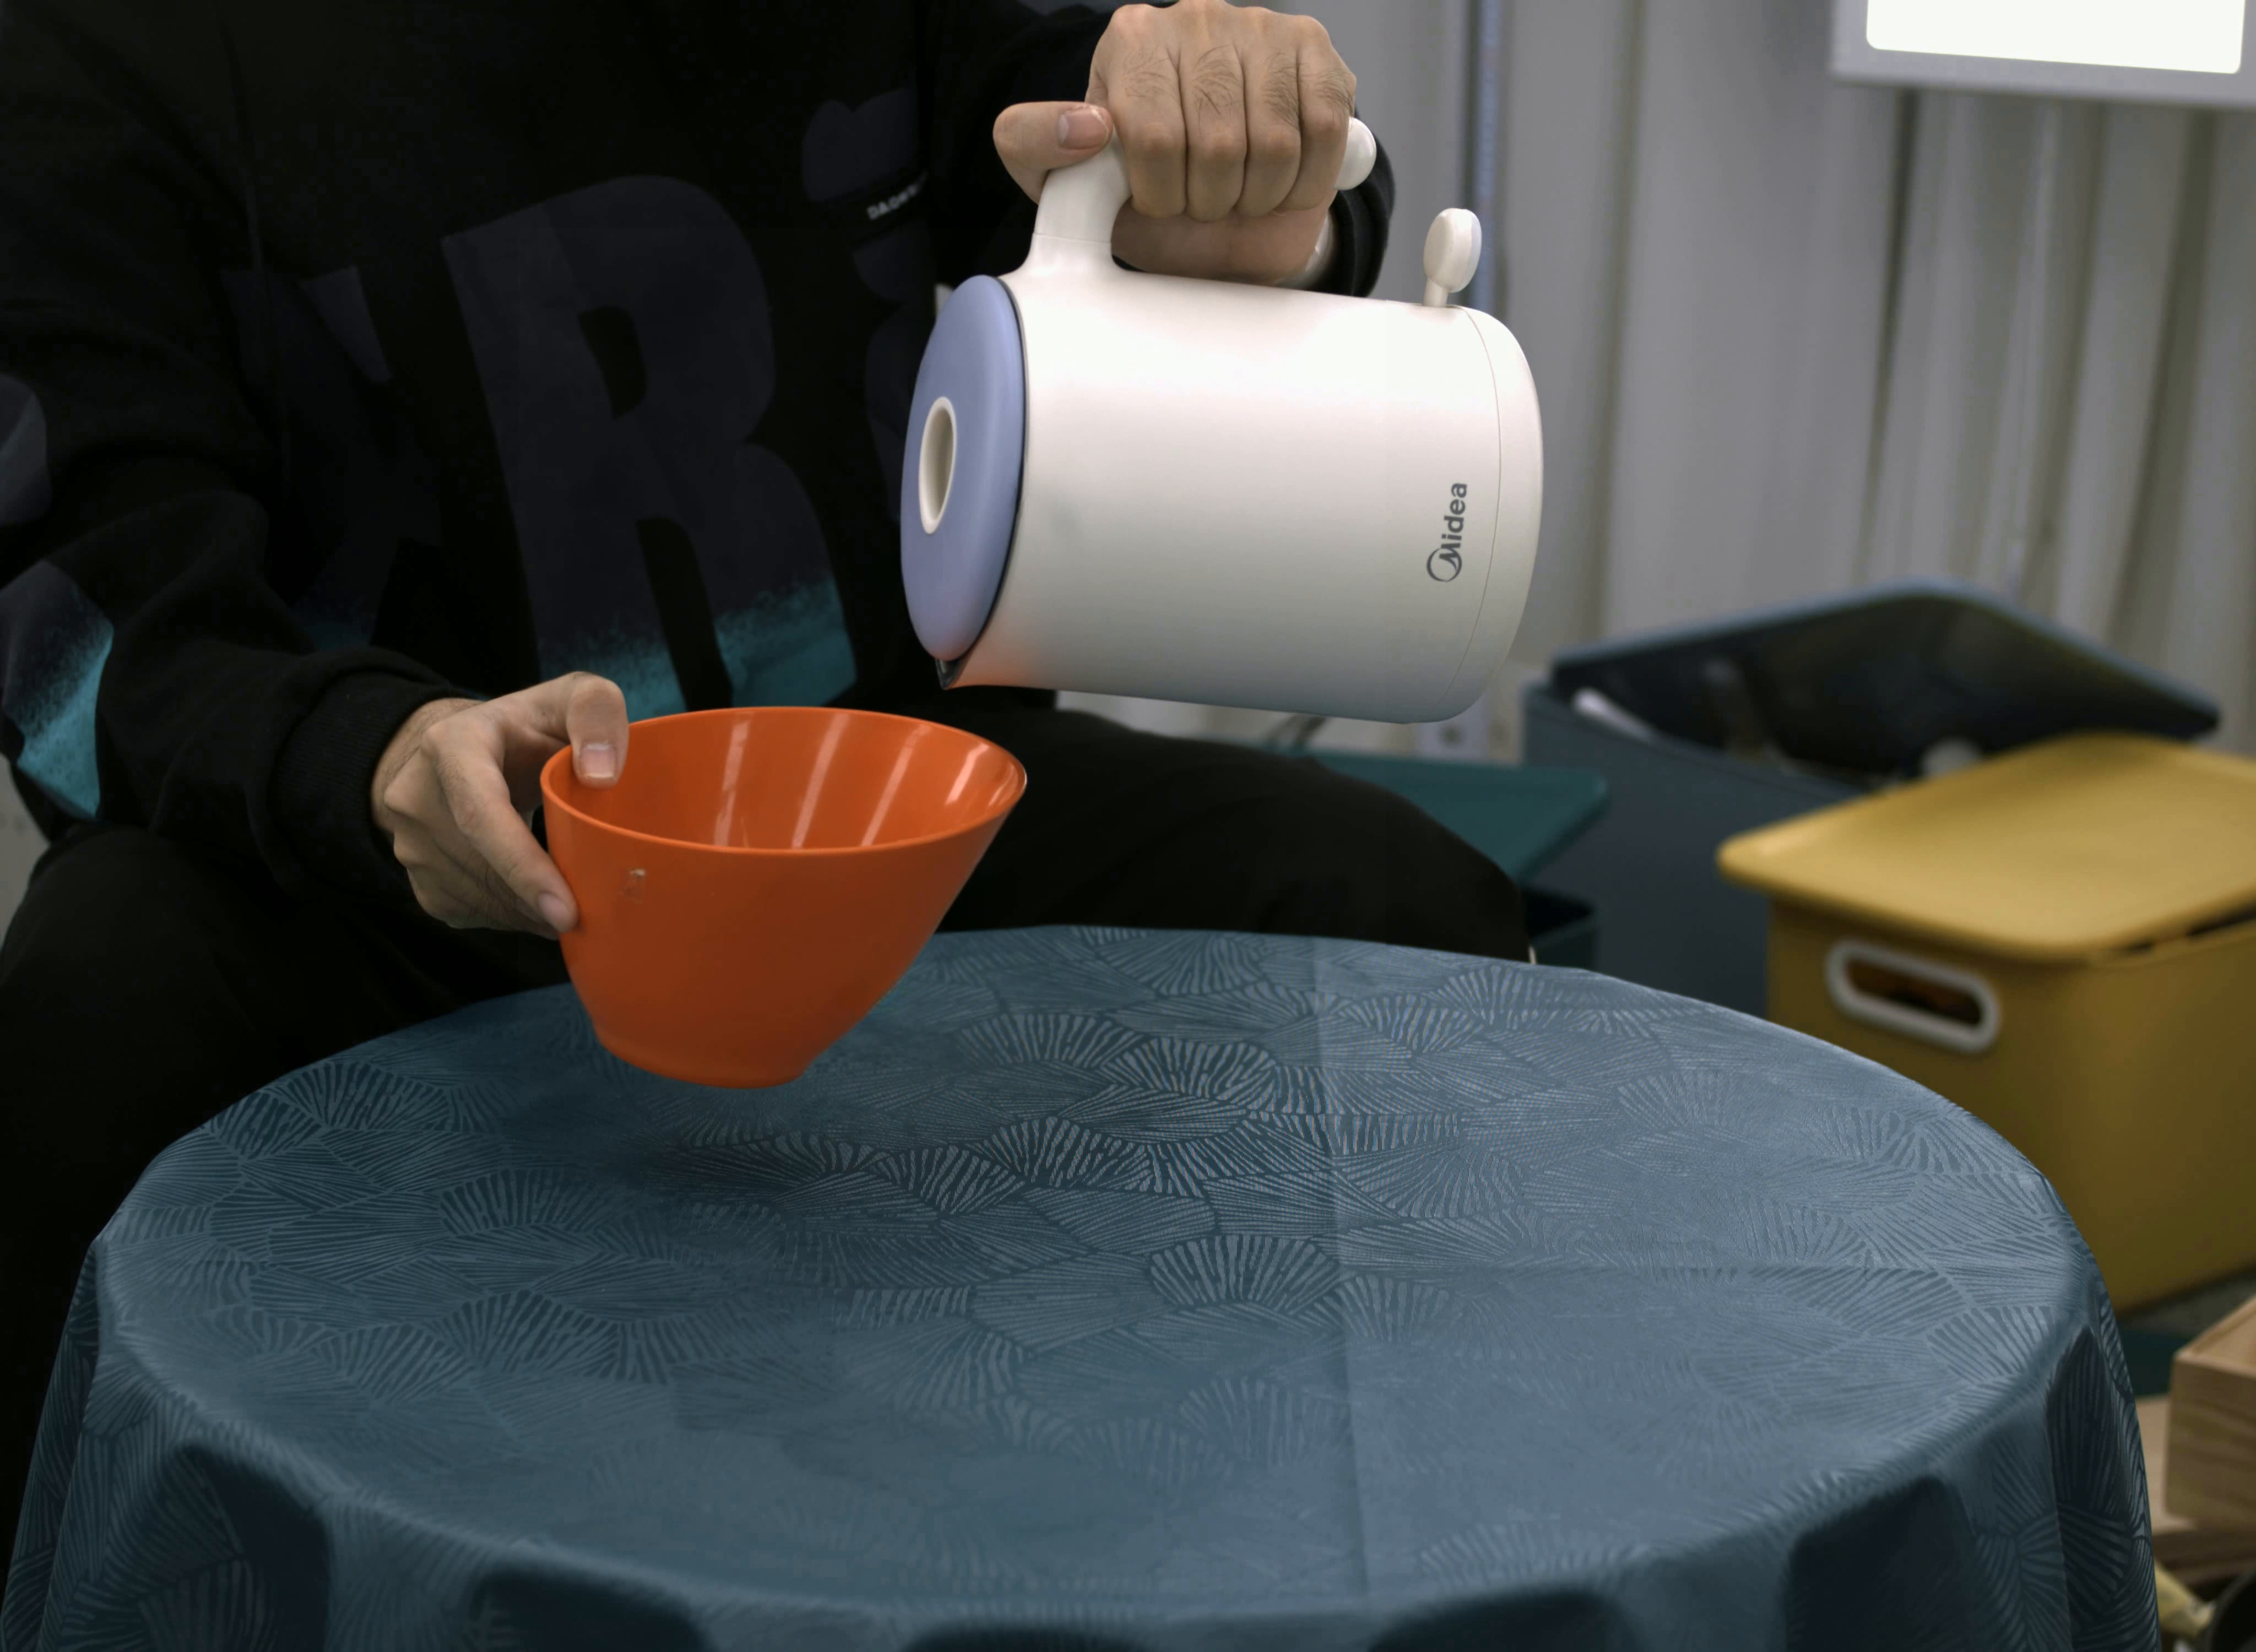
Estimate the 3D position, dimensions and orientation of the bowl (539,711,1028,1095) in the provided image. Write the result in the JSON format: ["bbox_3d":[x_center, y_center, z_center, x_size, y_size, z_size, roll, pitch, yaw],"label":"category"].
[{"bbox_3d":[-0.112,0.024,1.618,0.148,0.105,0.147,11,16,-3],"label":"bowl"}]

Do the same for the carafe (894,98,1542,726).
[{"bbox_3d":[0.030,-0.128,1.618,0.183,0.192,0.131,7,6,-19],"label":"carafe"}]
